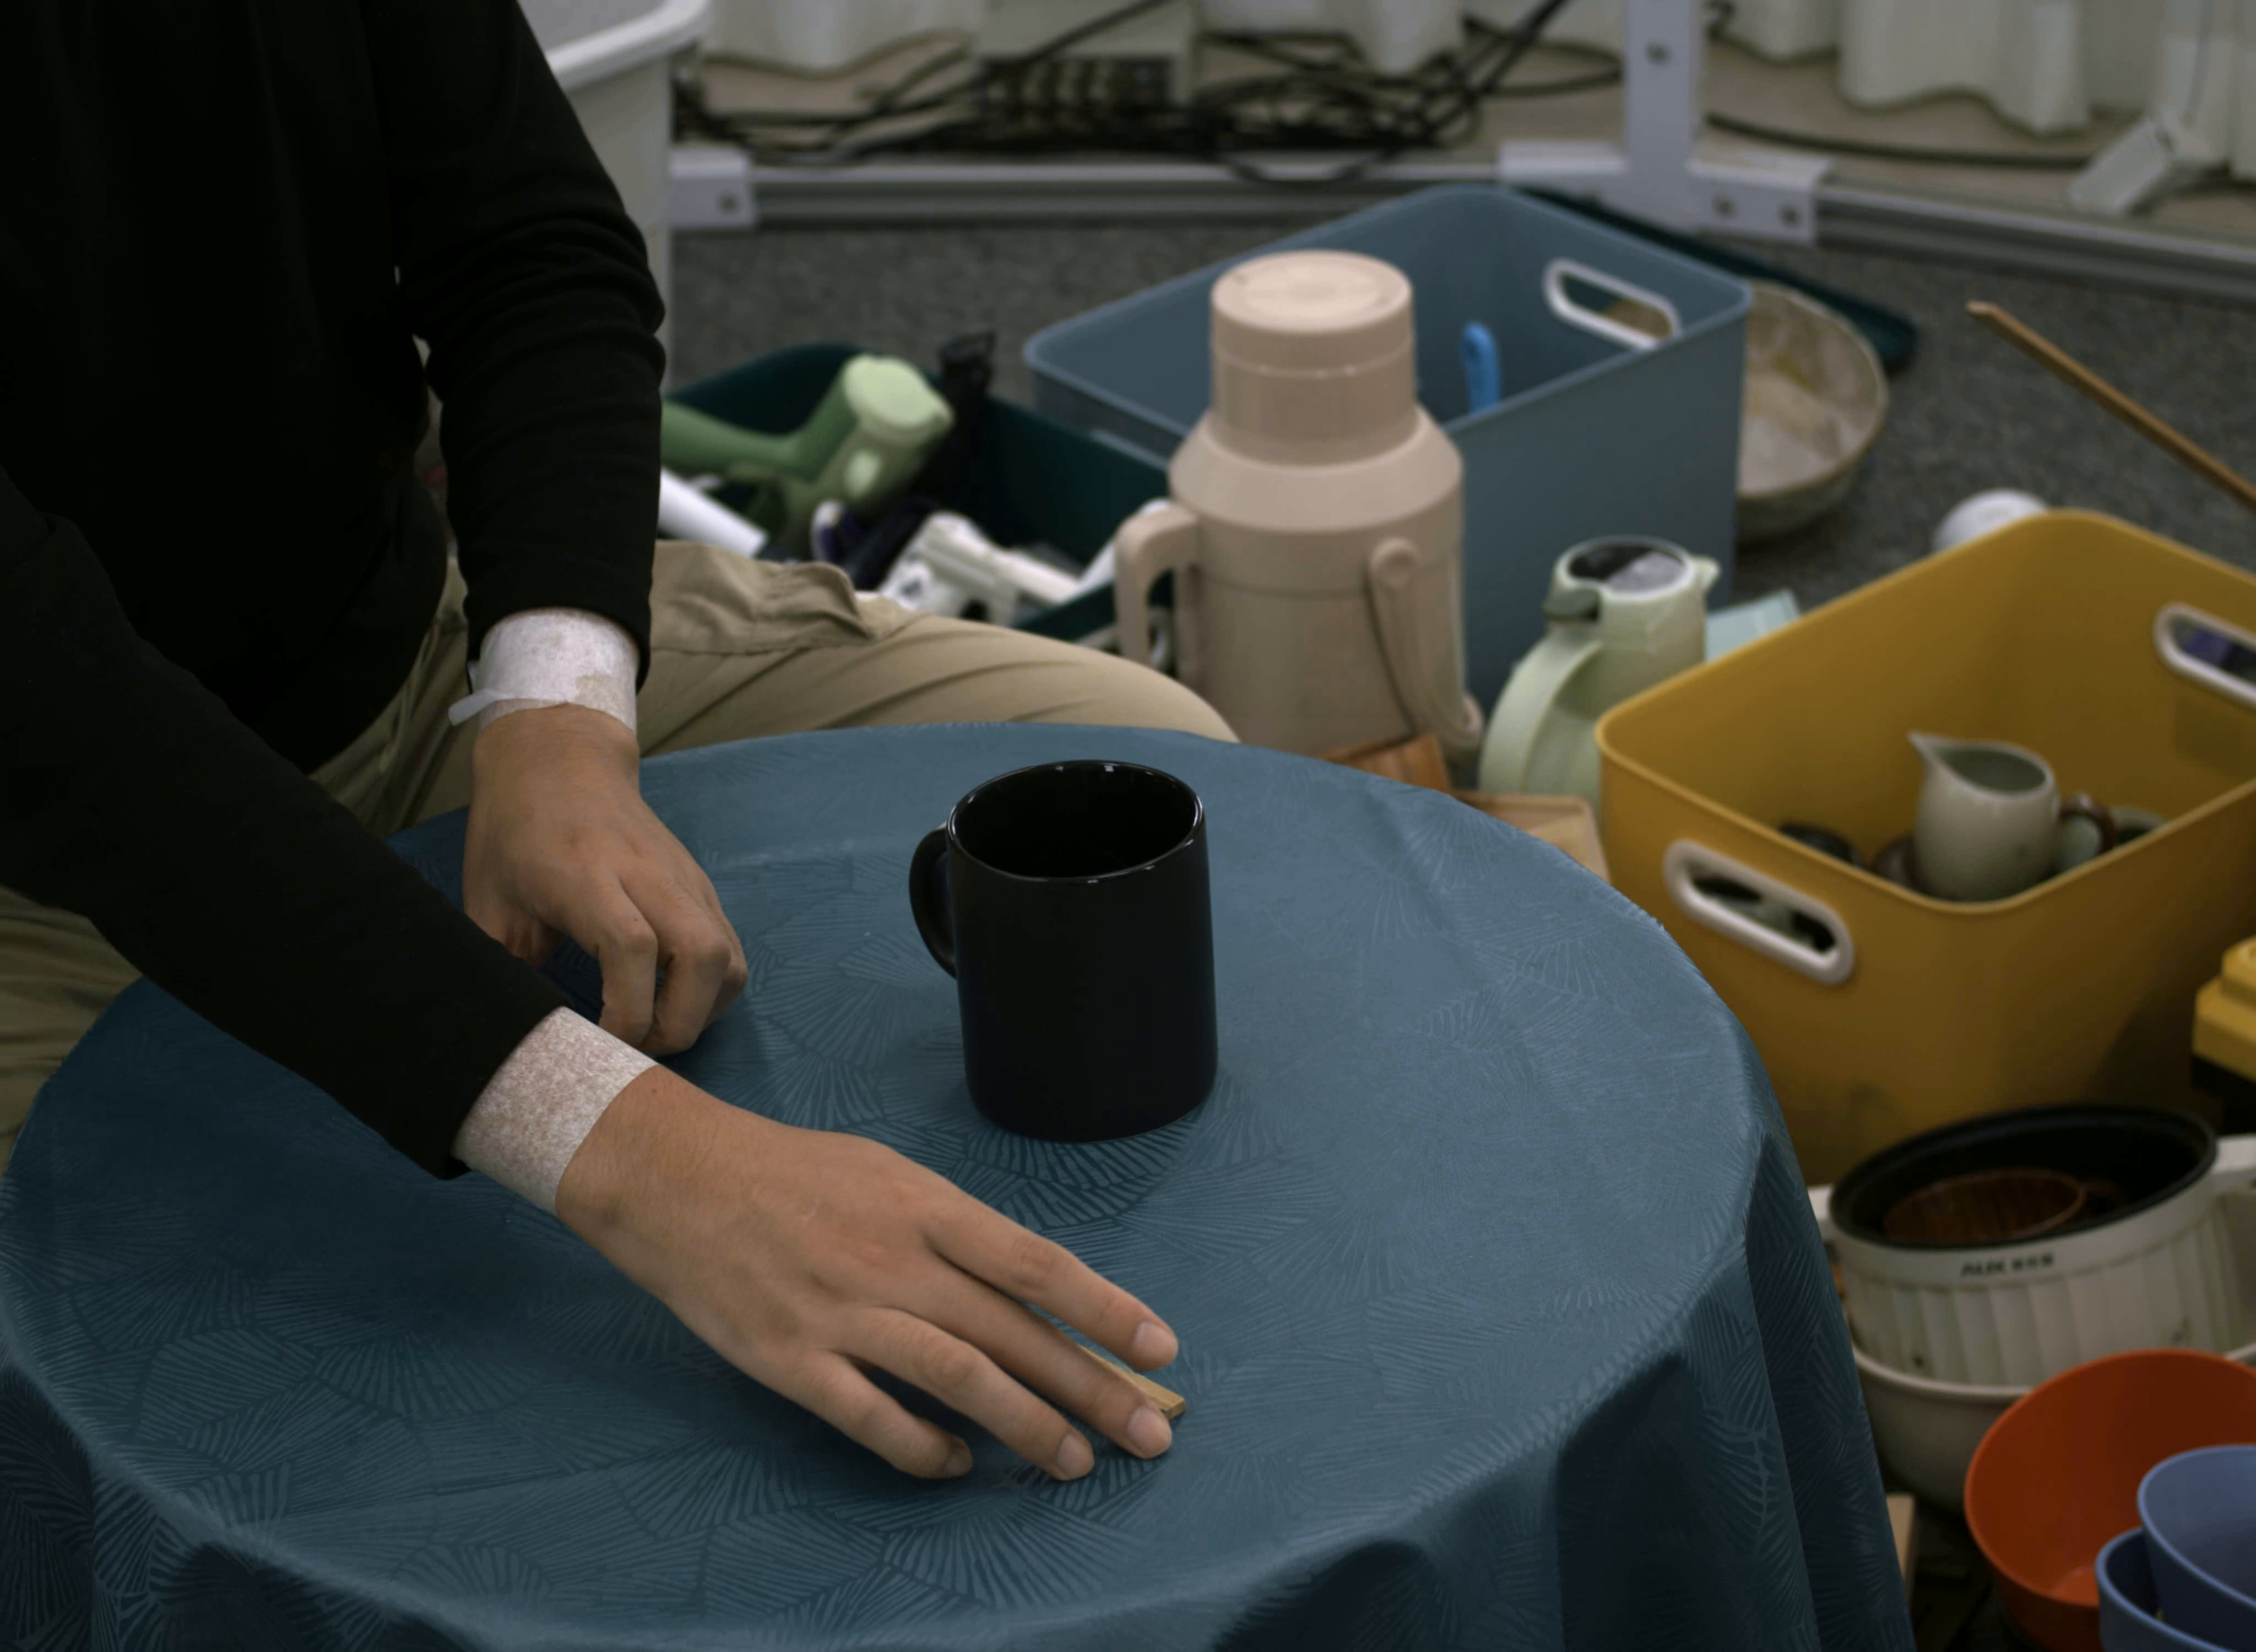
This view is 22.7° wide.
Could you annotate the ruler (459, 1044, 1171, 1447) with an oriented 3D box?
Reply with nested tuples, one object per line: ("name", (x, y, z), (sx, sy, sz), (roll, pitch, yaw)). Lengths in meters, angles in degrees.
("ruler", (-0.110, 0.132, 1.842), (0.028, 0.022, 0.331), (-21, 33, -39))

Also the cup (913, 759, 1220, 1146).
("cup", (-0.028, 0.038, 1.917), (0.123, 0.104, 0.090), (21, 37, 41))
